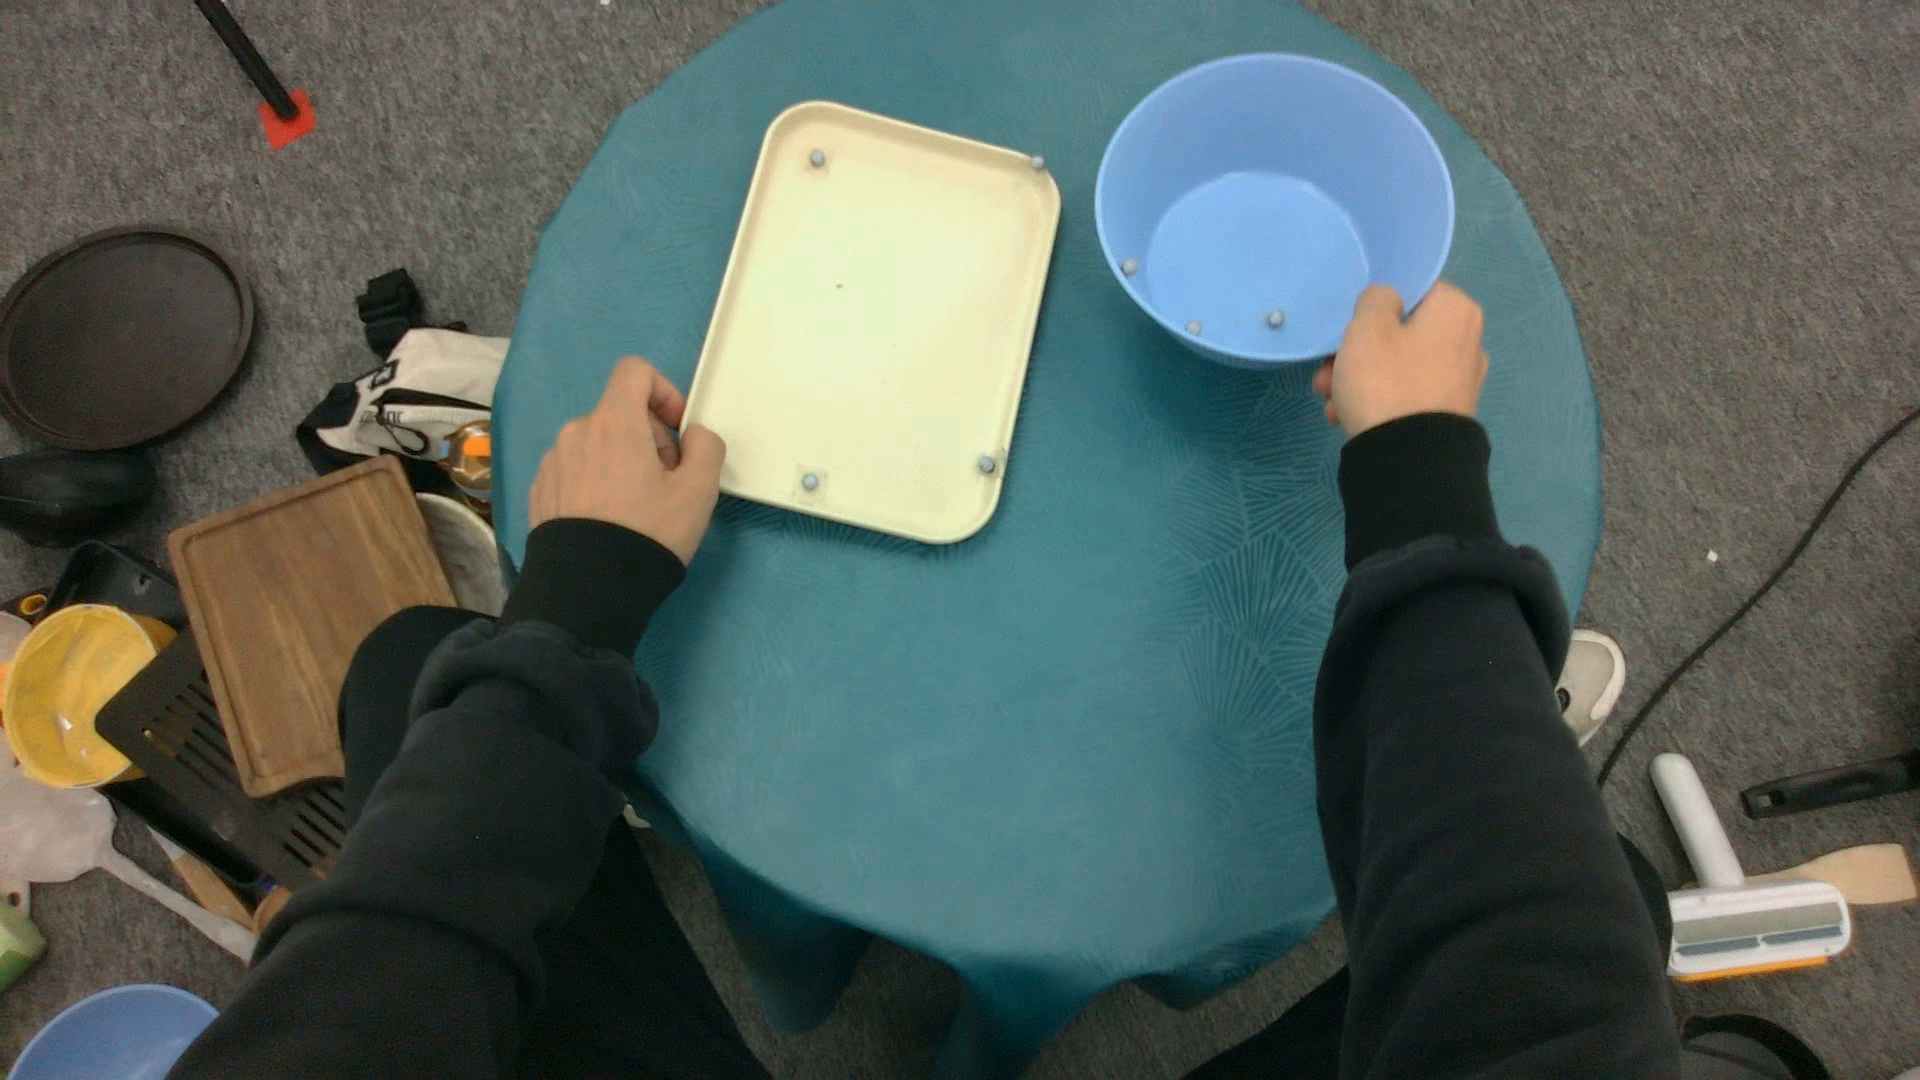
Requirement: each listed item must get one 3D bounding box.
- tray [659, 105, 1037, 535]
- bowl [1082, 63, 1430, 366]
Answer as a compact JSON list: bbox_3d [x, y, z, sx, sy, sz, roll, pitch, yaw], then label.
[{"bbox_3d":[-0.057,-0.123,0.753,0.171,0.017,0.240,13,71,-1],"label":"tray"},{"bbox_3d":[0.152,-0.159,0.729,0.176,0.070,0.176,-1,71,3],"label":"bowl"}]
